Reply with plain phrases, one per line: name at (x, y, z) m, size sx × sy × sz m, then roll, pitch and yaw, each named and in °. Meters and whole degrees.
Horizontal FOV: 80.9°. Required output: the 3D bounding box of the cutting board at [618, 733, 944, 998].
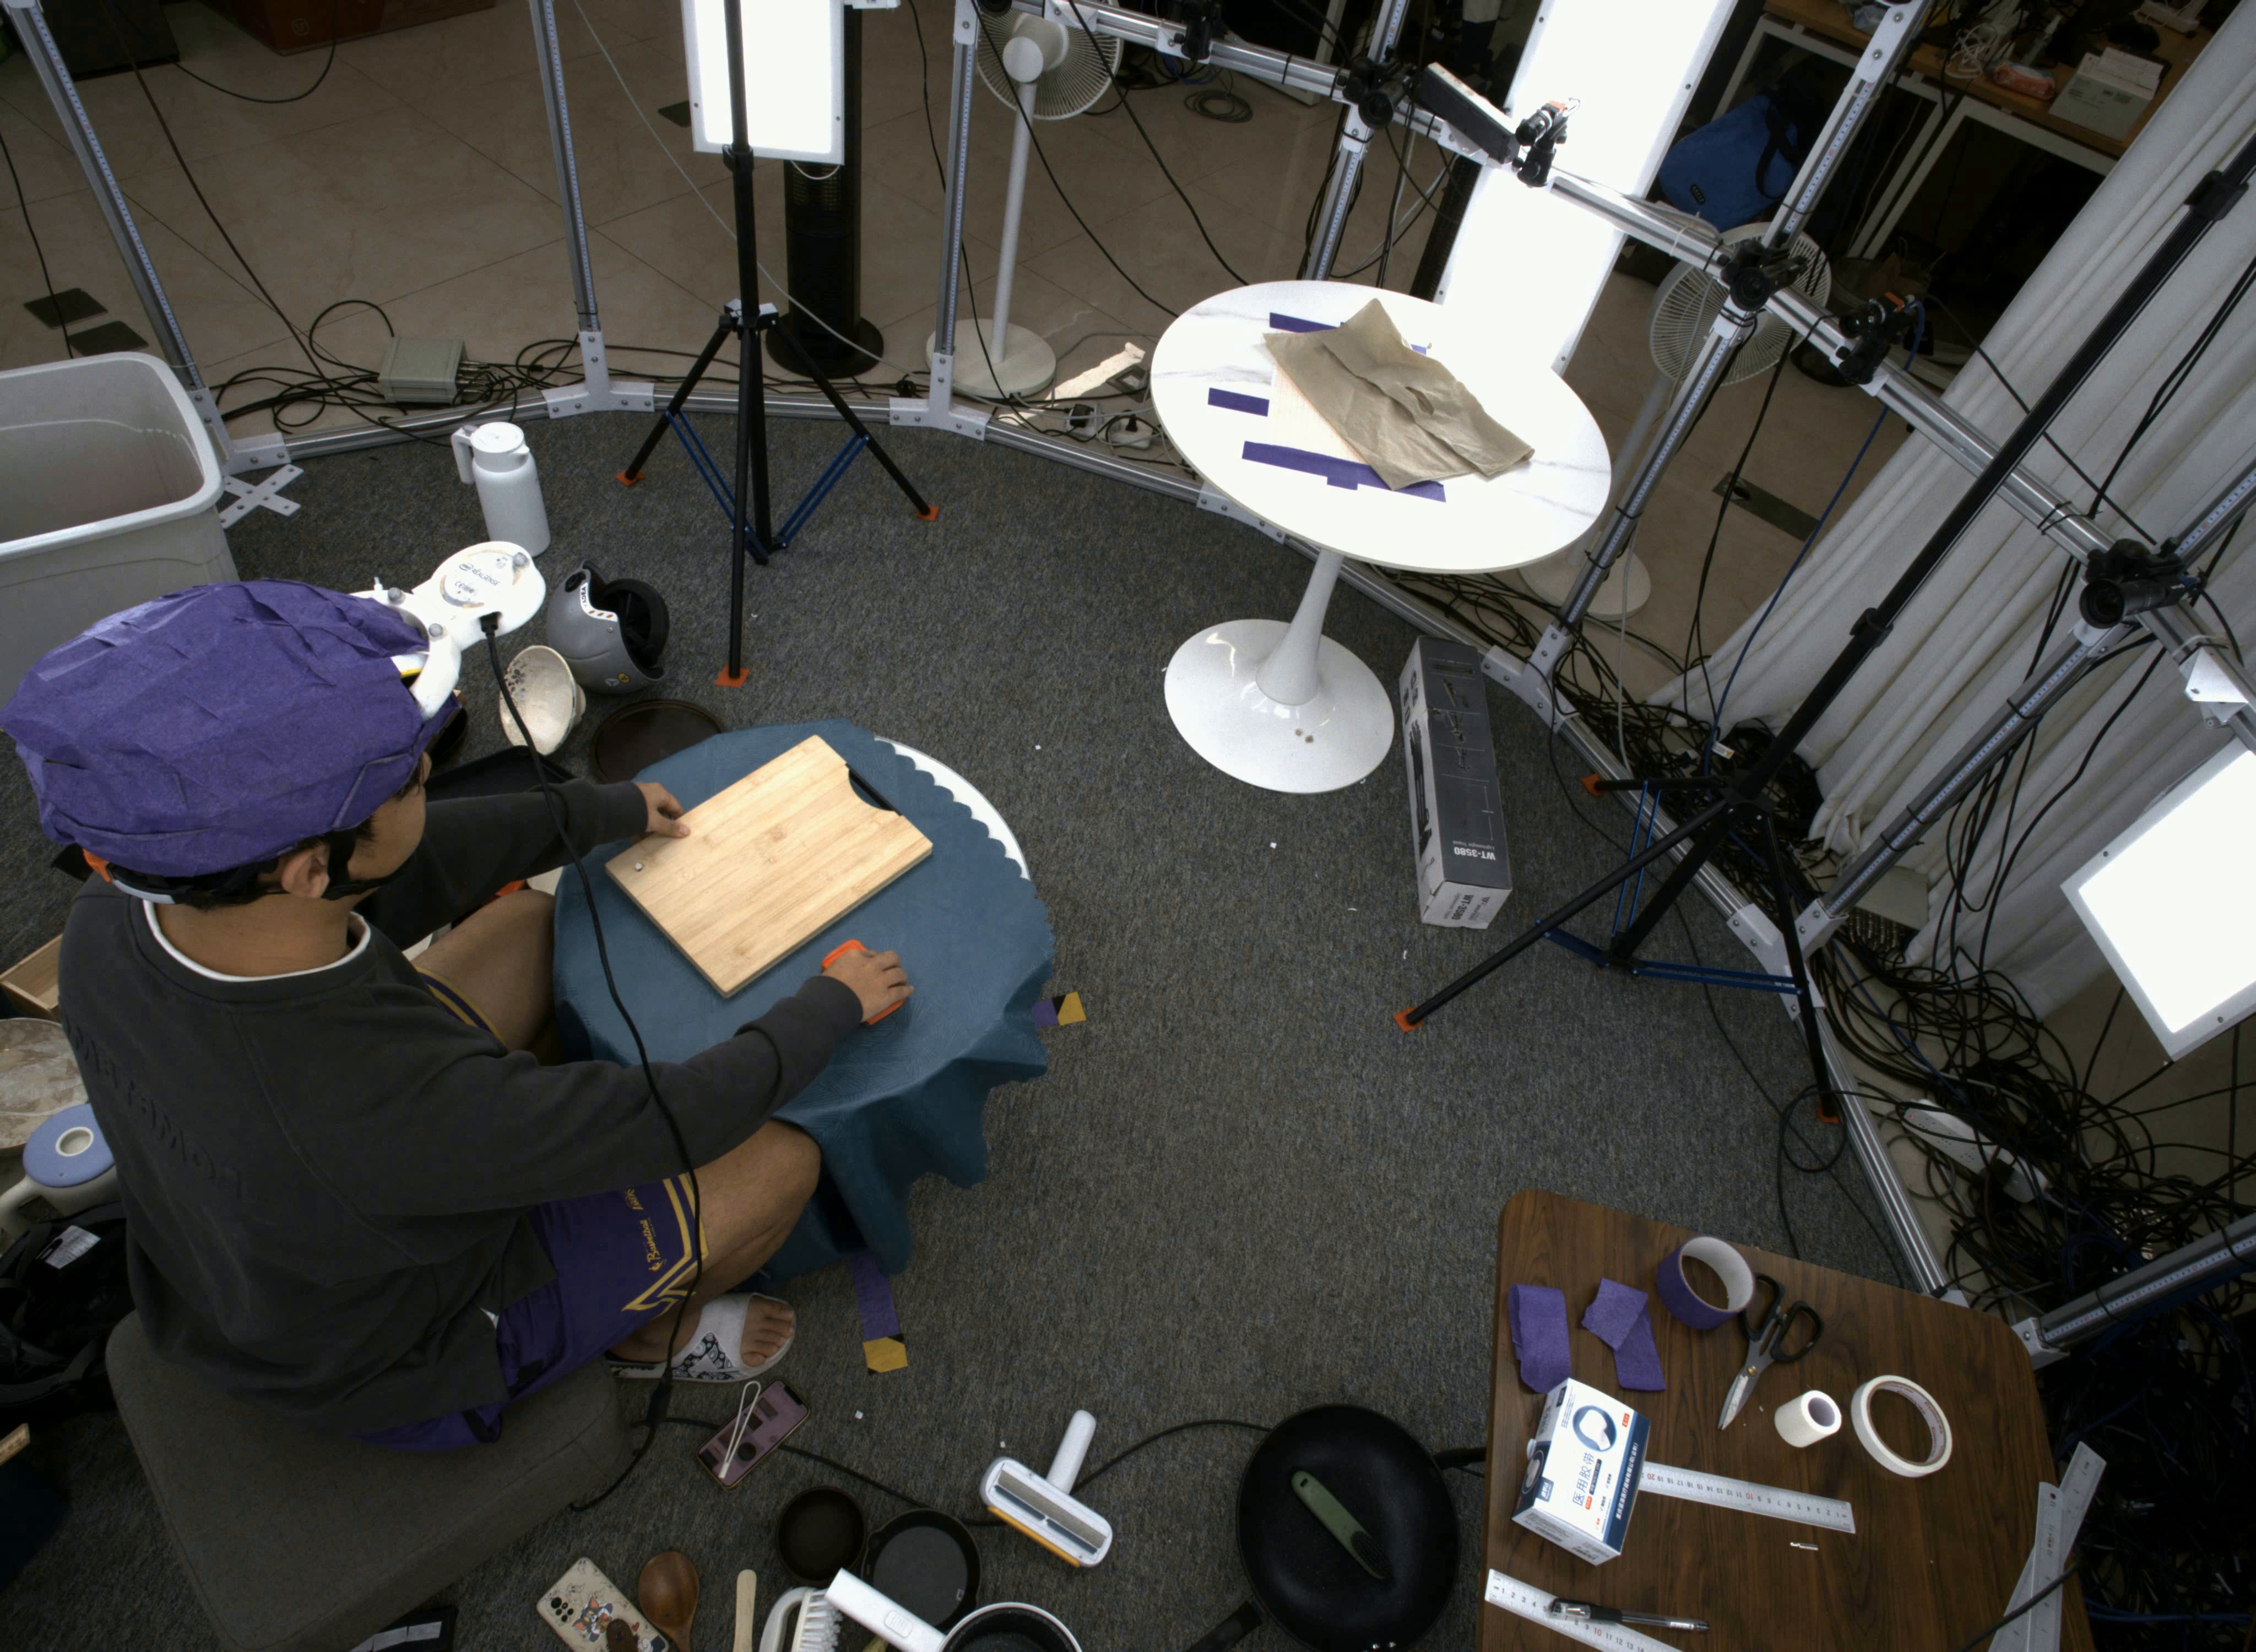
cutting board at (-0.447, 0.038, 1.676) m, size 0.246 × 0.024 × 0.349 m, roll 42°, pitch 55°, yaw 13°

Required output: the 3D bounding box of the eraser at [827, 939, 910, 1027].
eraser at (-0.320, 0.190, 1.599) m, size 0.059 × 0.023 × 0.105 m, roll -32°, pitch 67°, yaw -32°
